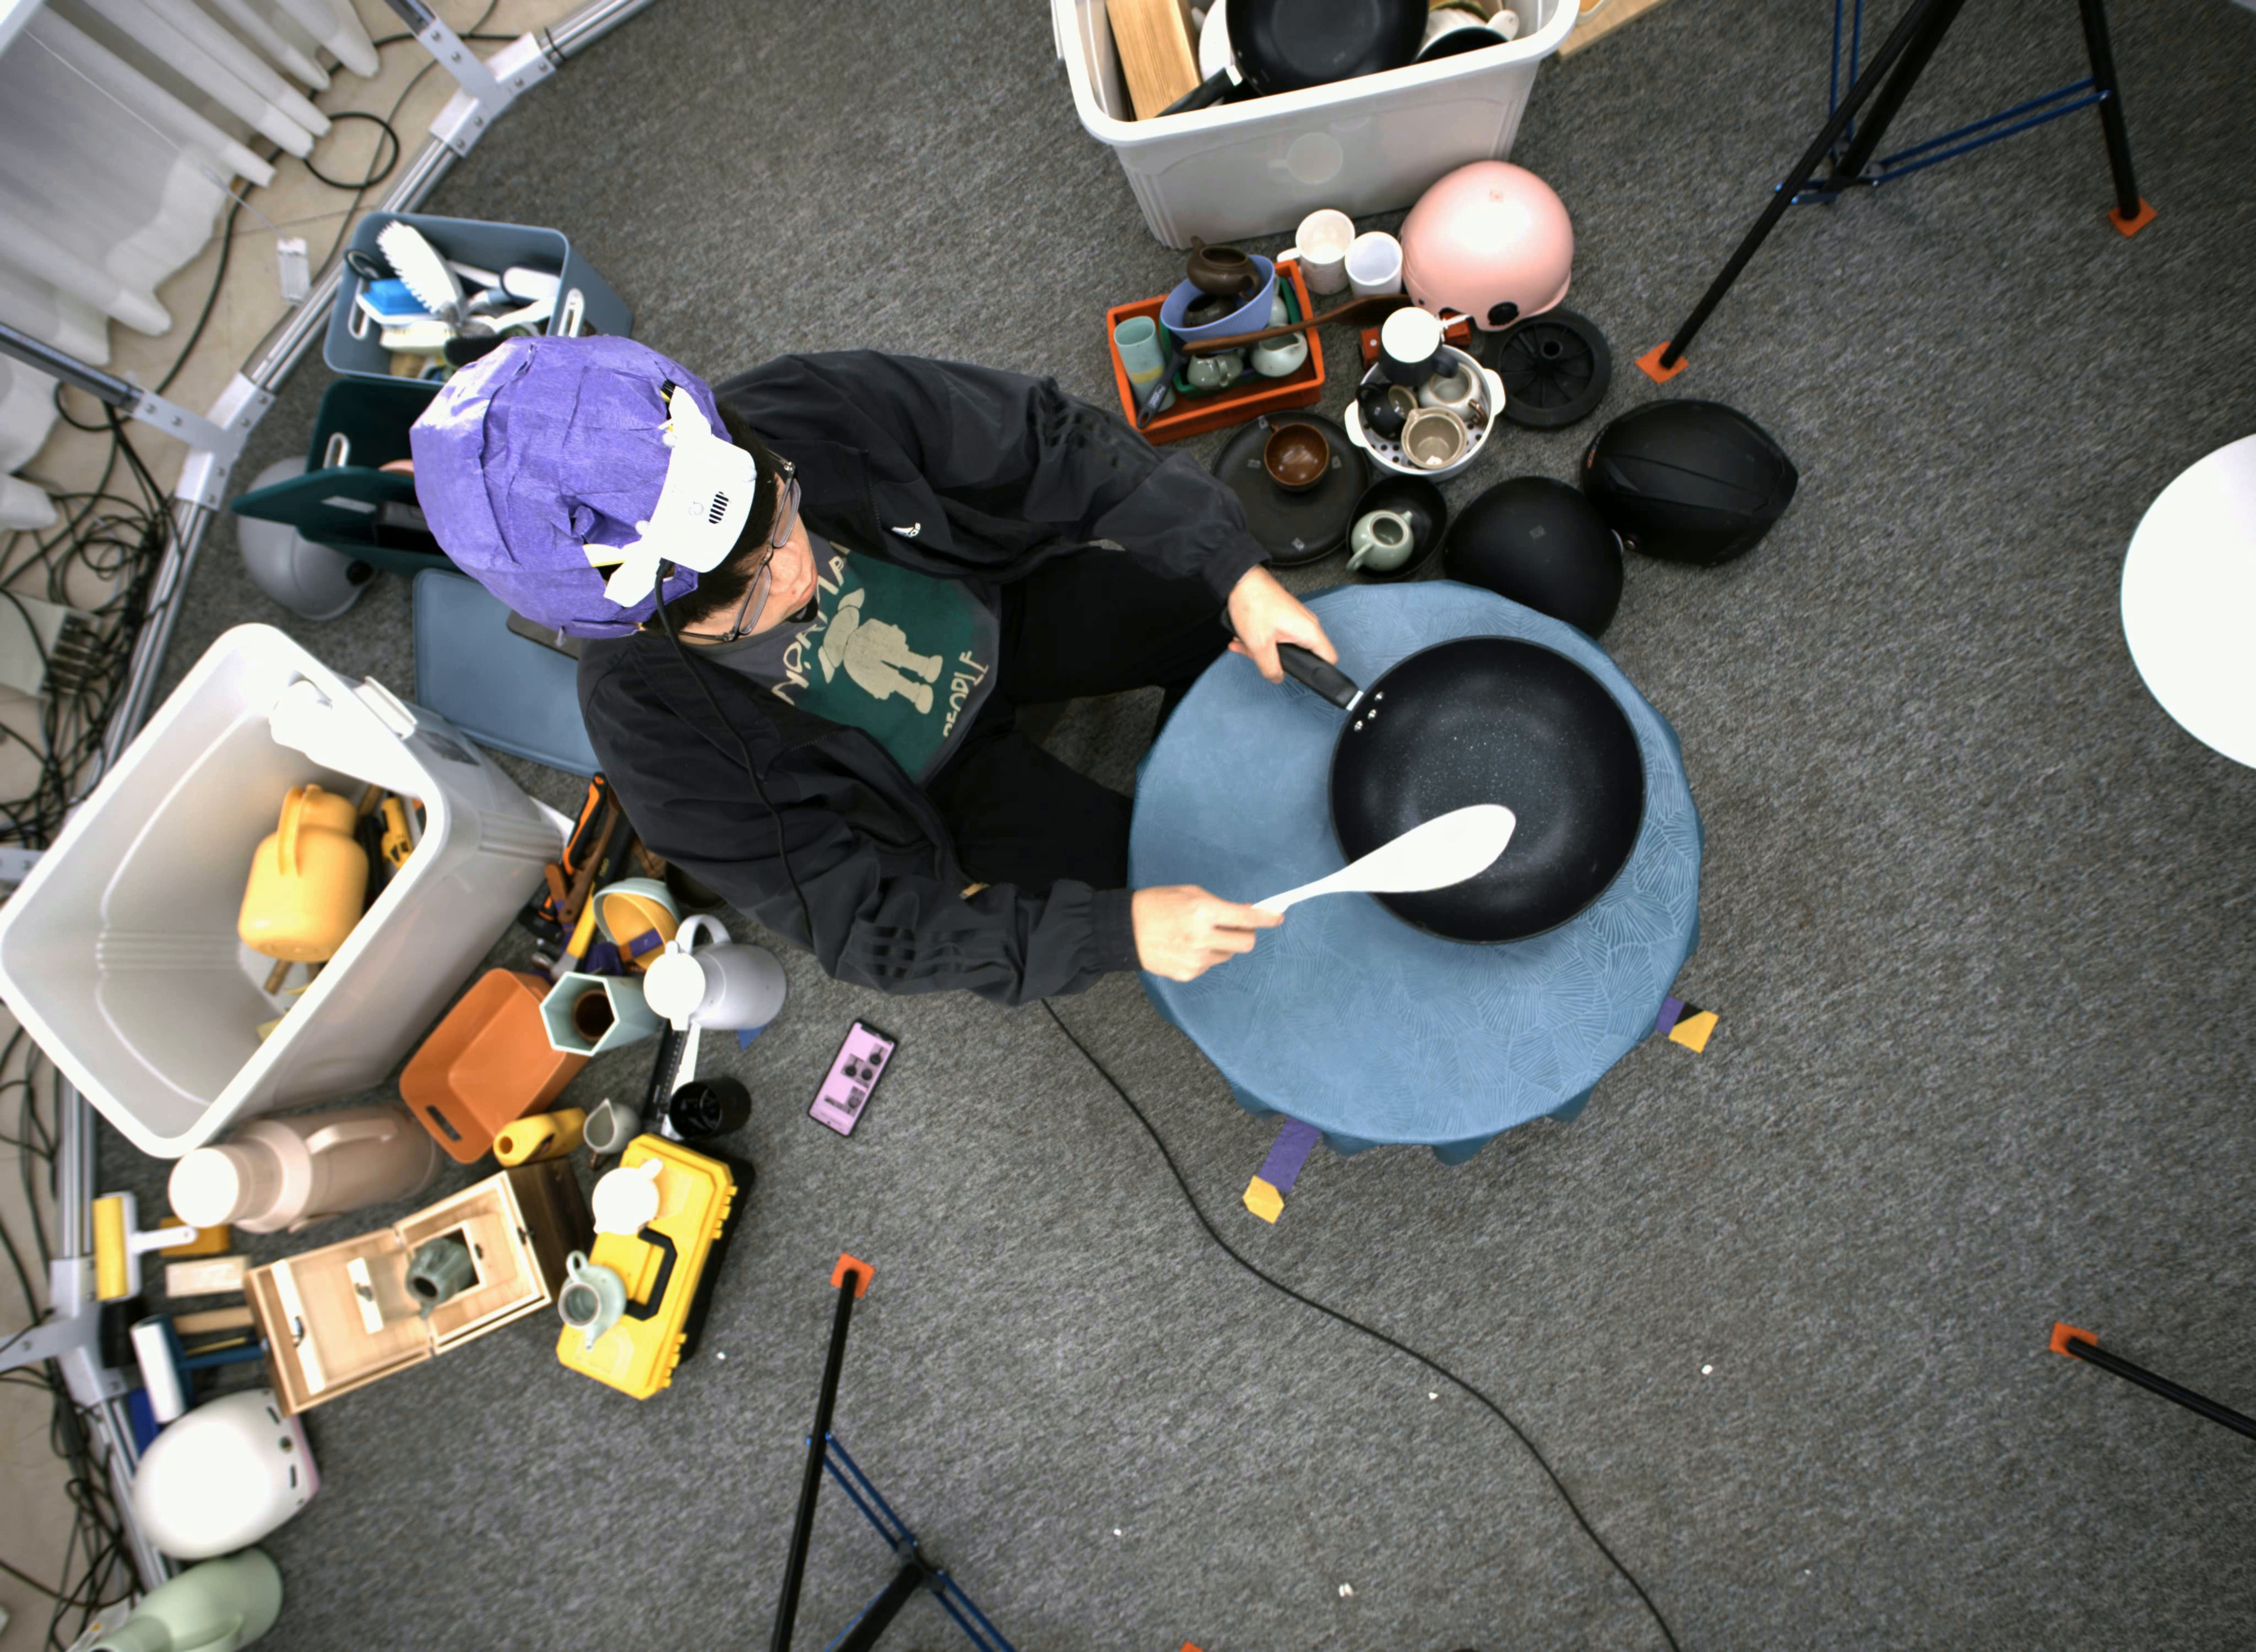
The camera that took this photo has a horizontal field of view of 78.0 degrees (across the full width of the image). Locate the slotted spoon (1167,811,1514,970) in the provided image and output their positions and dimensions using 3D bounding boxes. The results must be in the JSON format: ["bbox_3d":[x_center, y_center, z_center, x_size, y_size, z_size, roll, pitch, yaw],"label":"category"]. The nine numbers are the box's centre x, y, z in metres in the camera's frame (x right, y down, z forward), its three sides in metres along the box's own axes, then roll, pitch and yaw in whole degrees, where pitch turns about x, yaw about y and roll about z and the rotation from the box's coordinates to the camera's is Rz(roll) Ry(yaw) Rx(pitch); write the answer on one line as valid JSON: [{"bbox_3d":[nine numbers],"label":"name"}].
[{"bbox_3d":[0.195,0.065,1.294,0.351,0.137,0.049,-18,73,18],"label":"slotted spoon"}]

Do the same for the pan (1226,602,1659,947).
[{"bbox_3d":[0.304,-0.083,1.403,0.475,0.111,0.312,36,98,13],"label":"pan"}]
